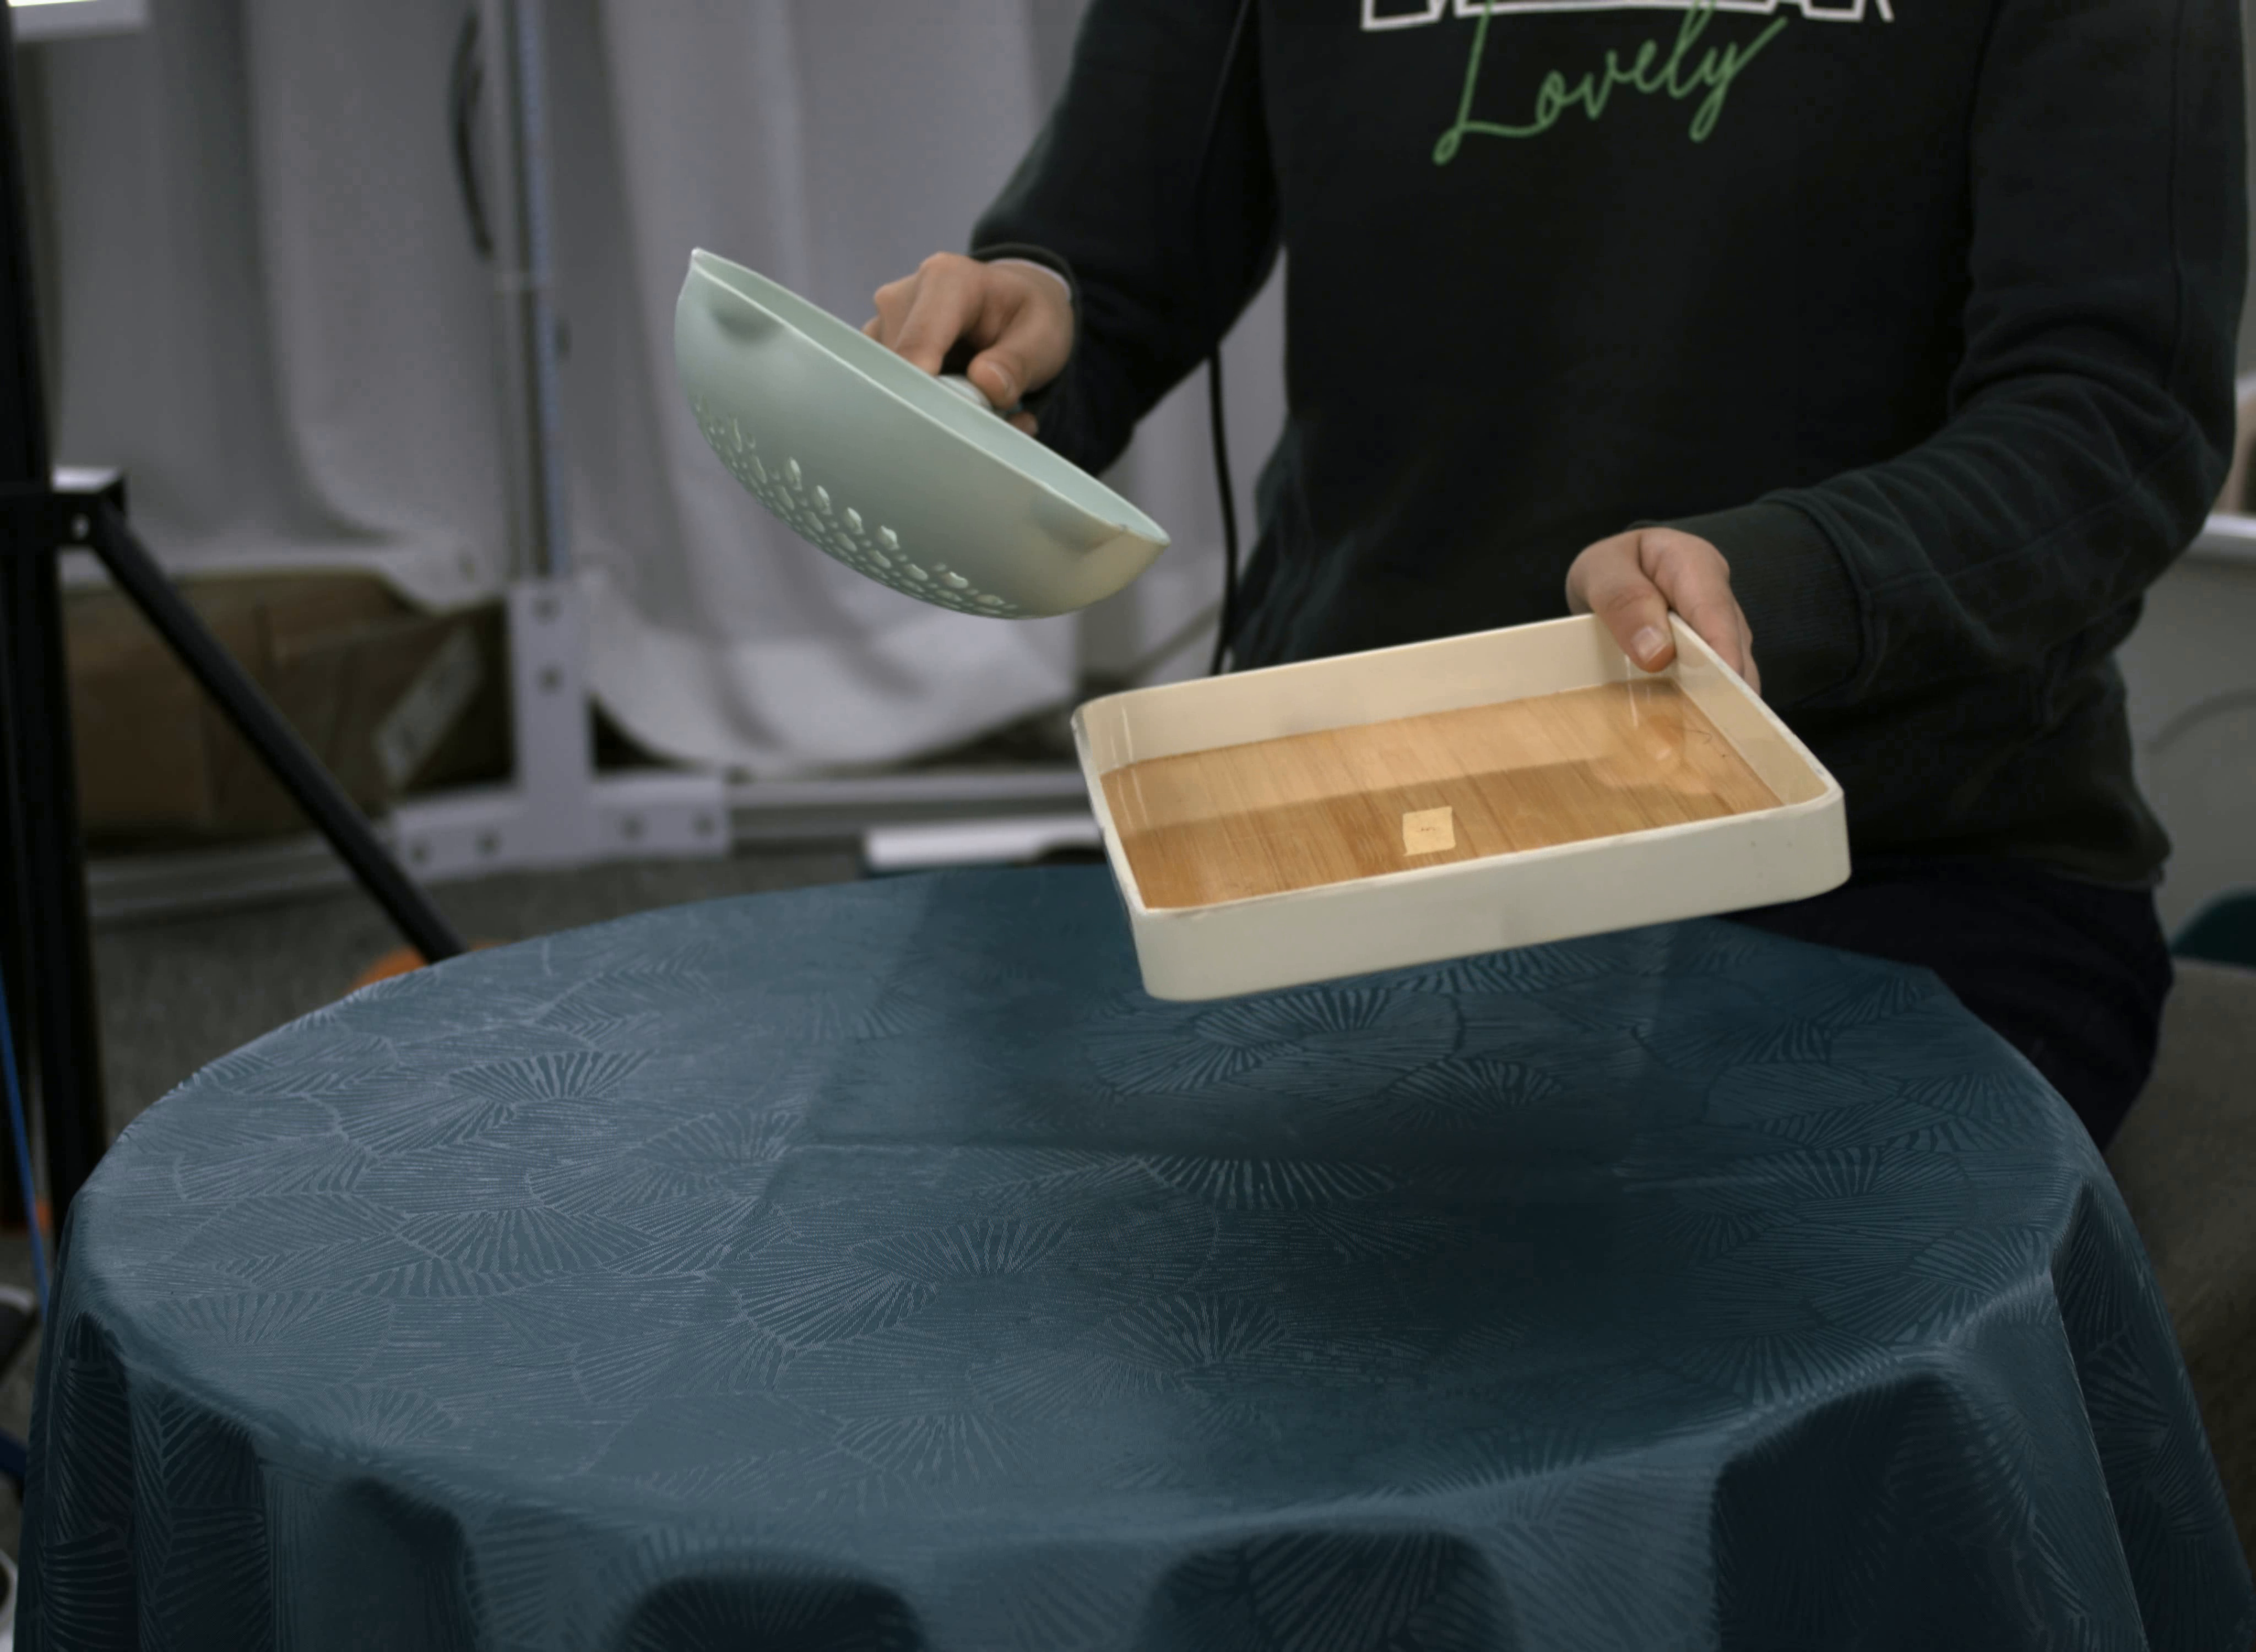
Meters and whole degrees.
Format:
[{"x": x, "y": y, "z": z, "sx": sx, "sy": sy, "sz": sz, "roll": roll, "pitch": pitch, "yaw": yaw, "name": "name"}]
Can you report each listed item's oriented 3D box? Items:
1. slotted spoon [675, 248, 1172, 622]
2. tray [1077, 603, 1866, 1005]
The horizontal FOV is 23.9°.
[{"x": -0.062, "y": -0.127, "z": 1.706, "sx": 0.169, "sy": 0.076, "sz": 0.358, "roll": 33, "pitch": 13, "yaw": -1, "name": "slotted spoon"}, {"x": 0.089, "y": -0.010, "z": 1.503, "sx": 0.190, "sy": 0.027, "sz": 0.302, "roll": -10, "pitch": 13, "yaw": -1, "name": "tray"}]
